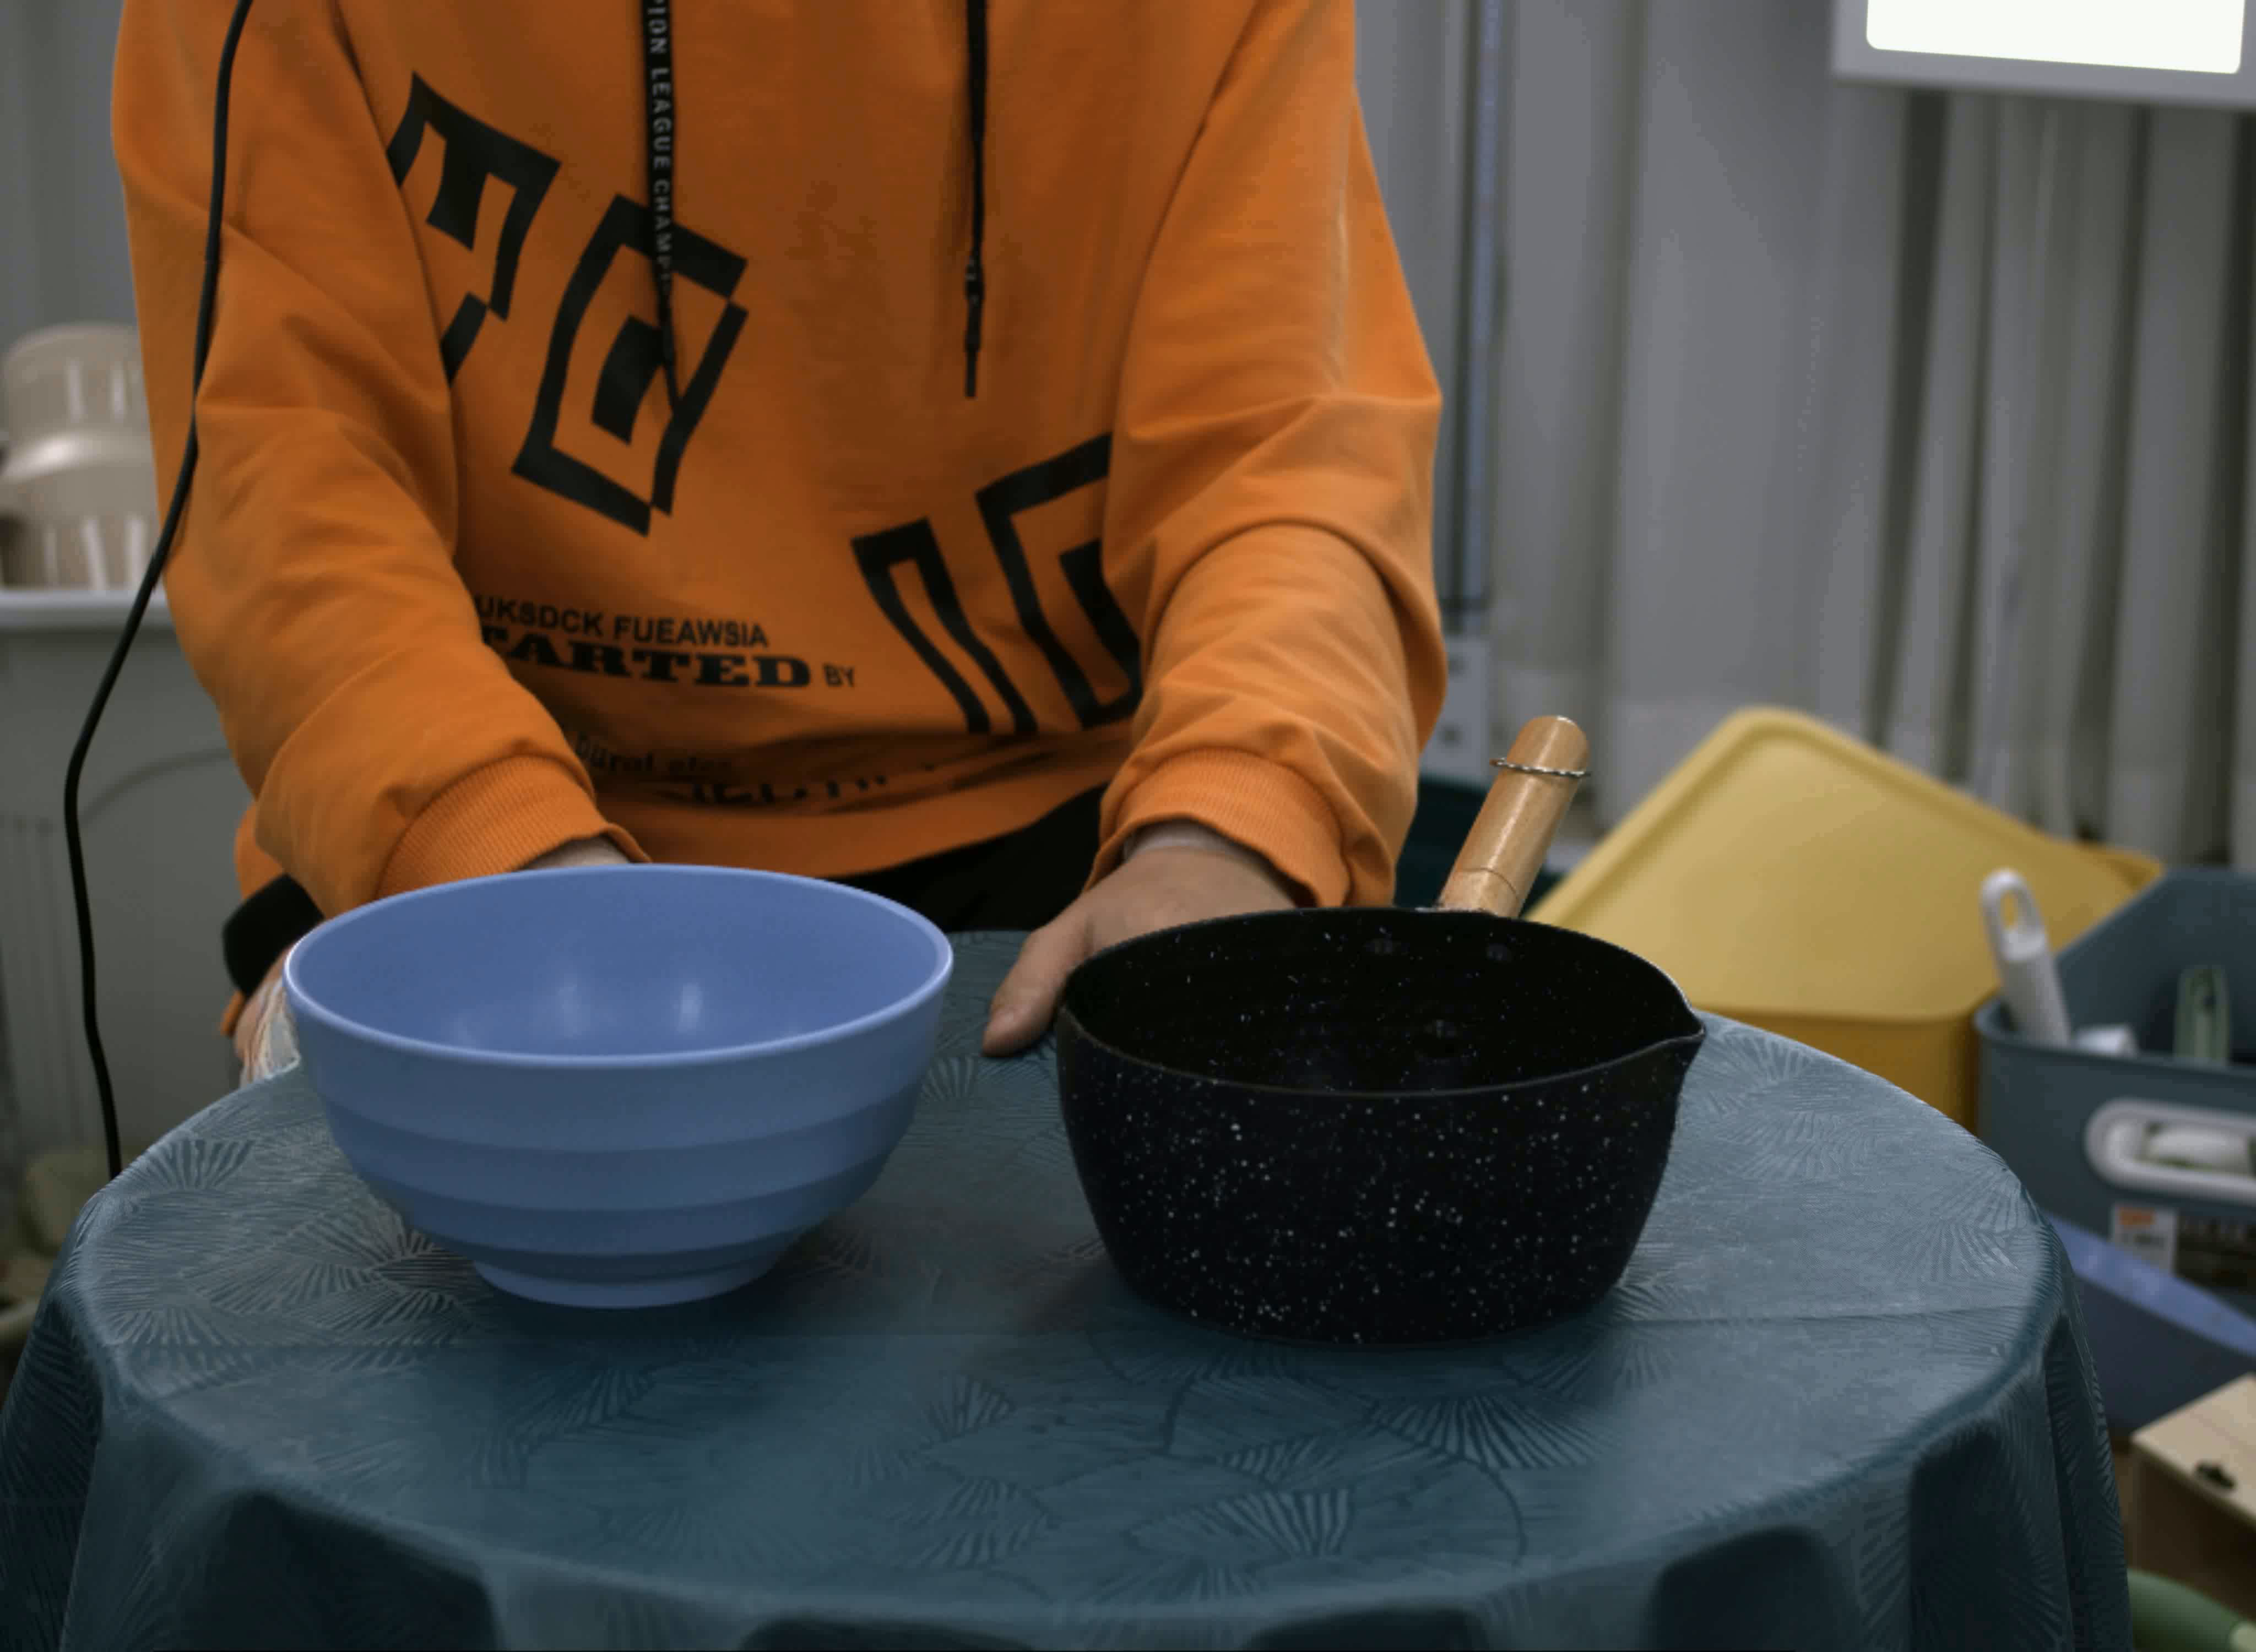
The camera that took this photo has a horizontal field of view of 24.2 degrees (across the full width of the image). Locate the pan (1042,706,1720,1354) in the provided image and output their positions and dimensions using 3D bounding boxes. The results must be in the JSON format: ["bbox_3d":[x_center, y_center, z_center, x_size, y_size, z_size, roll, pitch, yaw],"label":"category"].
[{"bbox_3d":[0.093,0.057,1.620,0.206,0.109,0.342,3,17,15],"label":"pan"}]

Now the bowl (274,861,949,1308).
[{"bbox_3d":[-0.150,0.081,1.549,0.196,0.096,0.195,0,16,1],"label":"bowl"}]
